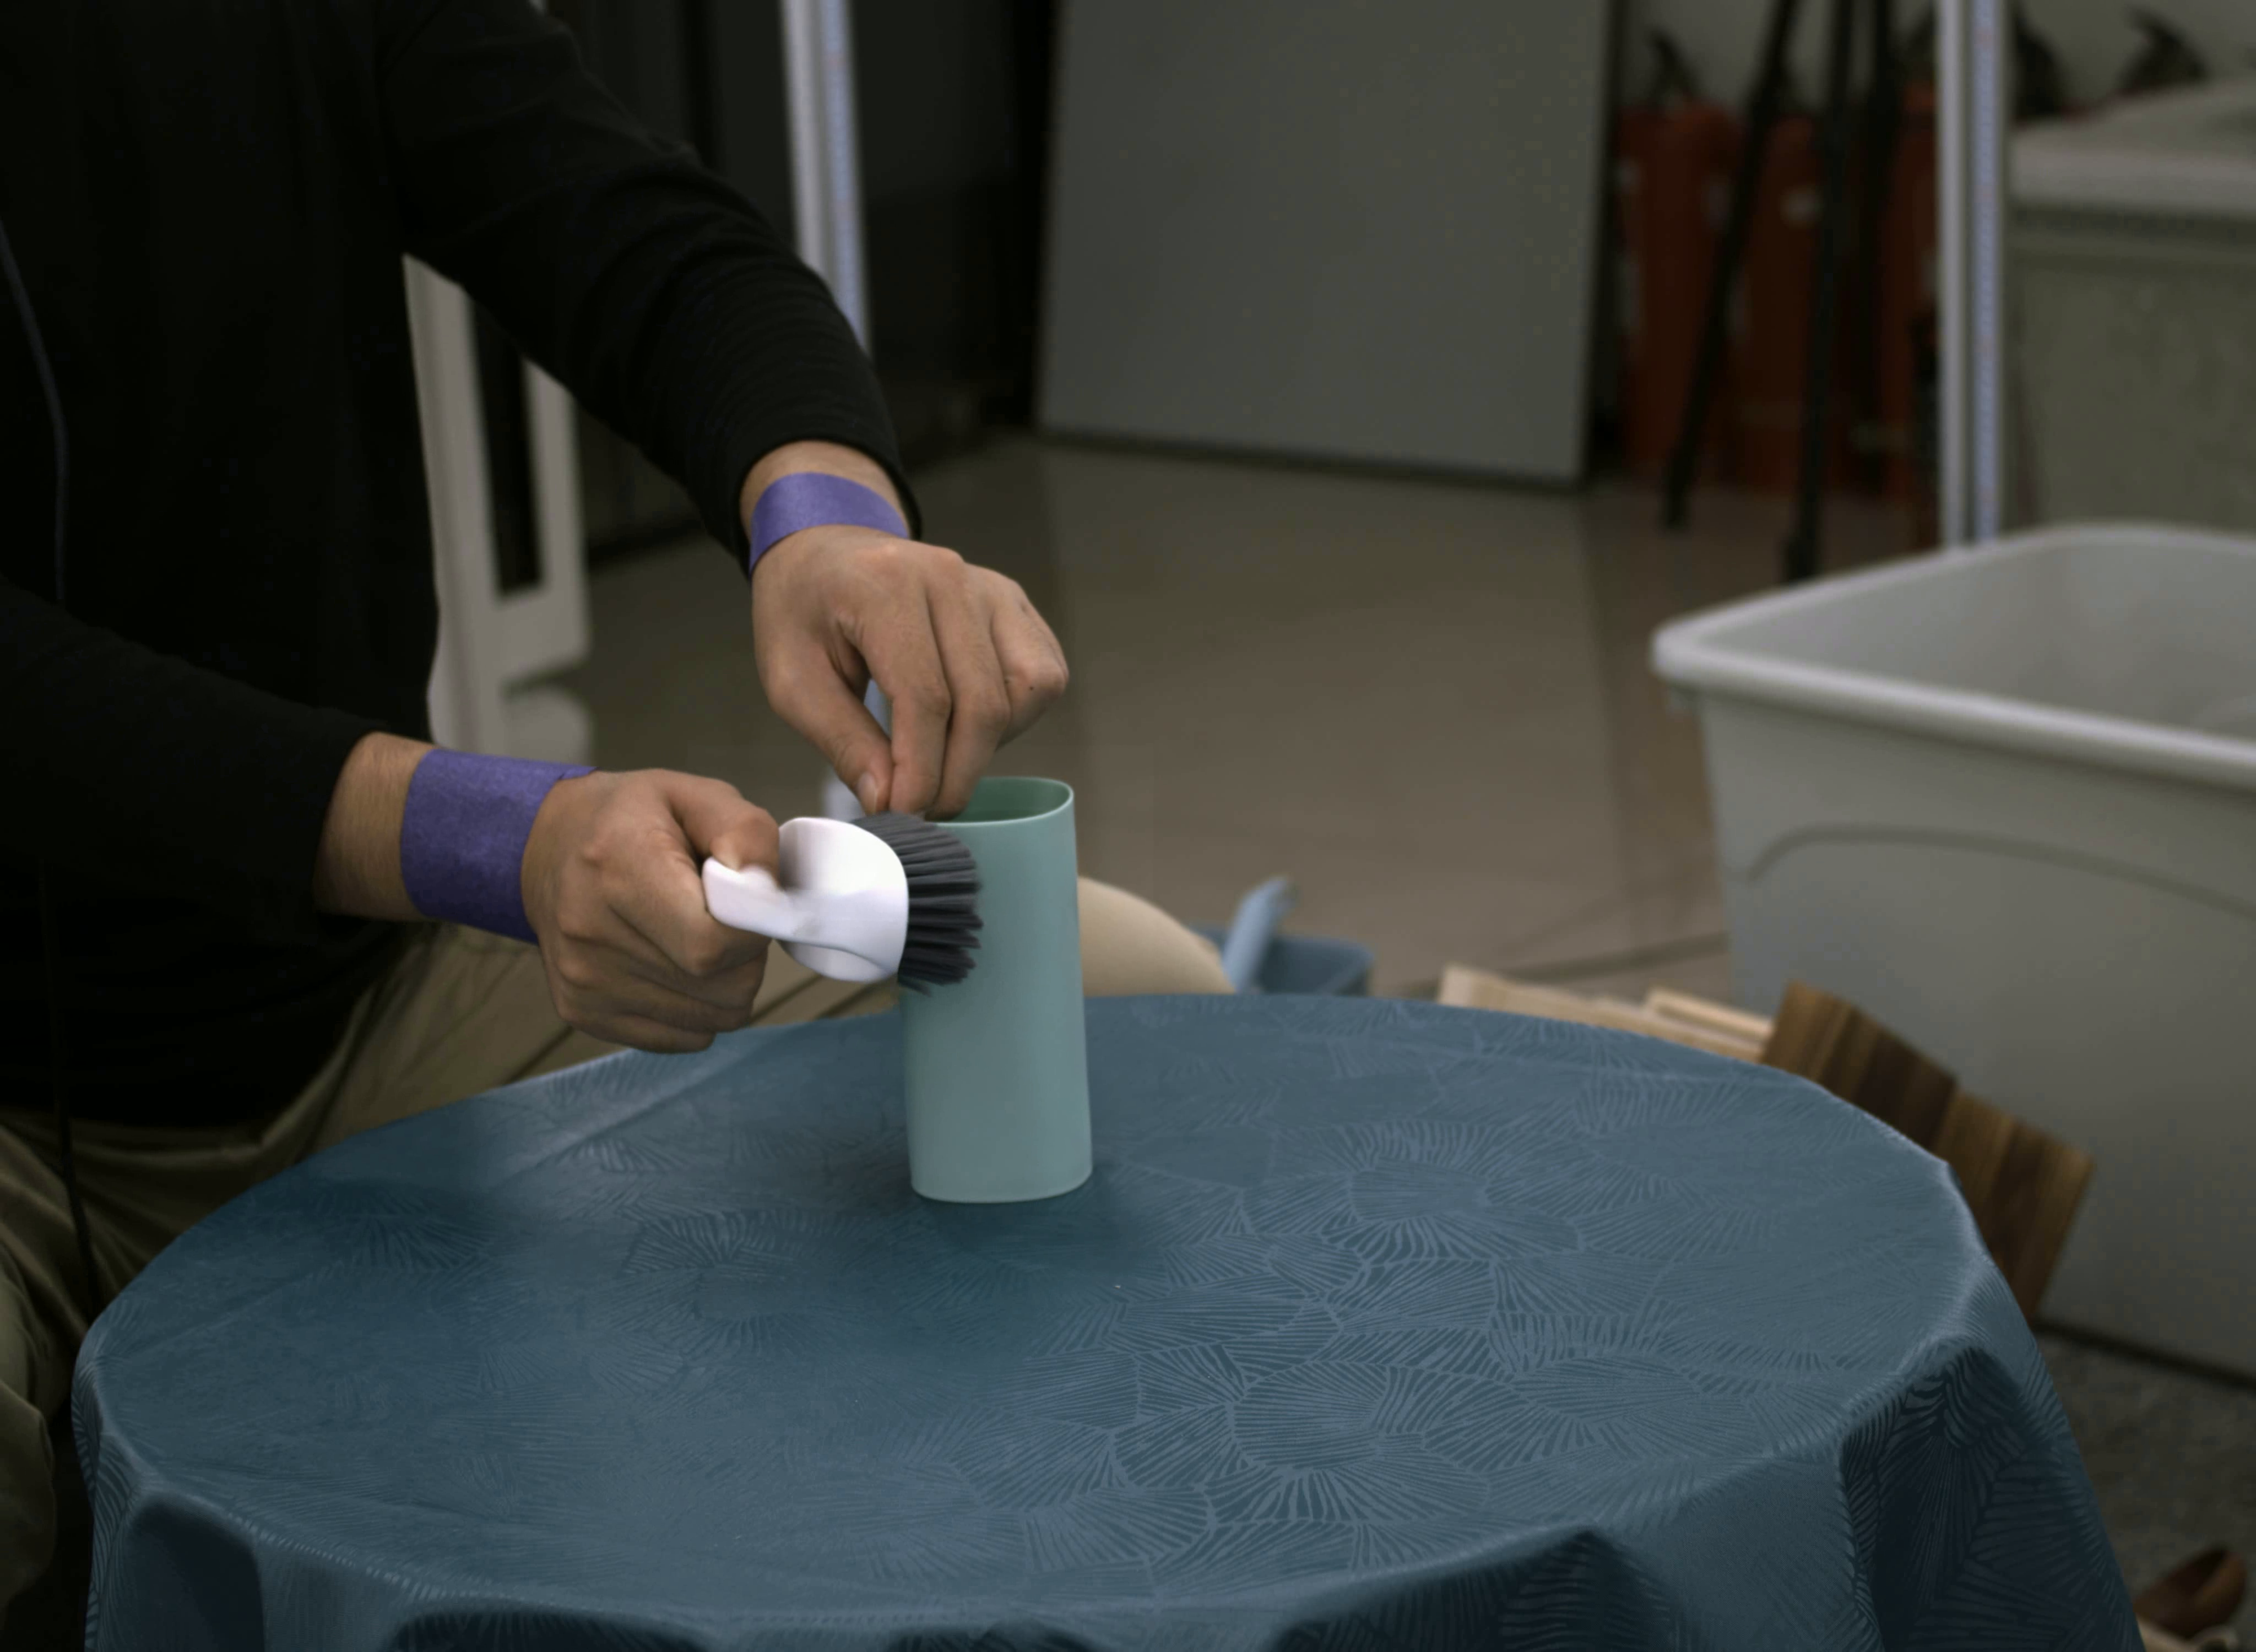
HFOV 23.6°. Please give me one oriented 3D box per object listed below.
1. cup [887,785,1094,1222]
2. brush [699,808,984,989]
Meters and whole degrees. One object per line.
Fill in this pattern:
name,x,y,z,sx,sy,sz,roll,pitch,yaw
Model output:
cup,-0.045,0.058,1.779,0.066,0.134,0.067,-3,13,0
brush,-0.097,0.022,1.712,0.071,0.051,0.100,1,10,-26
